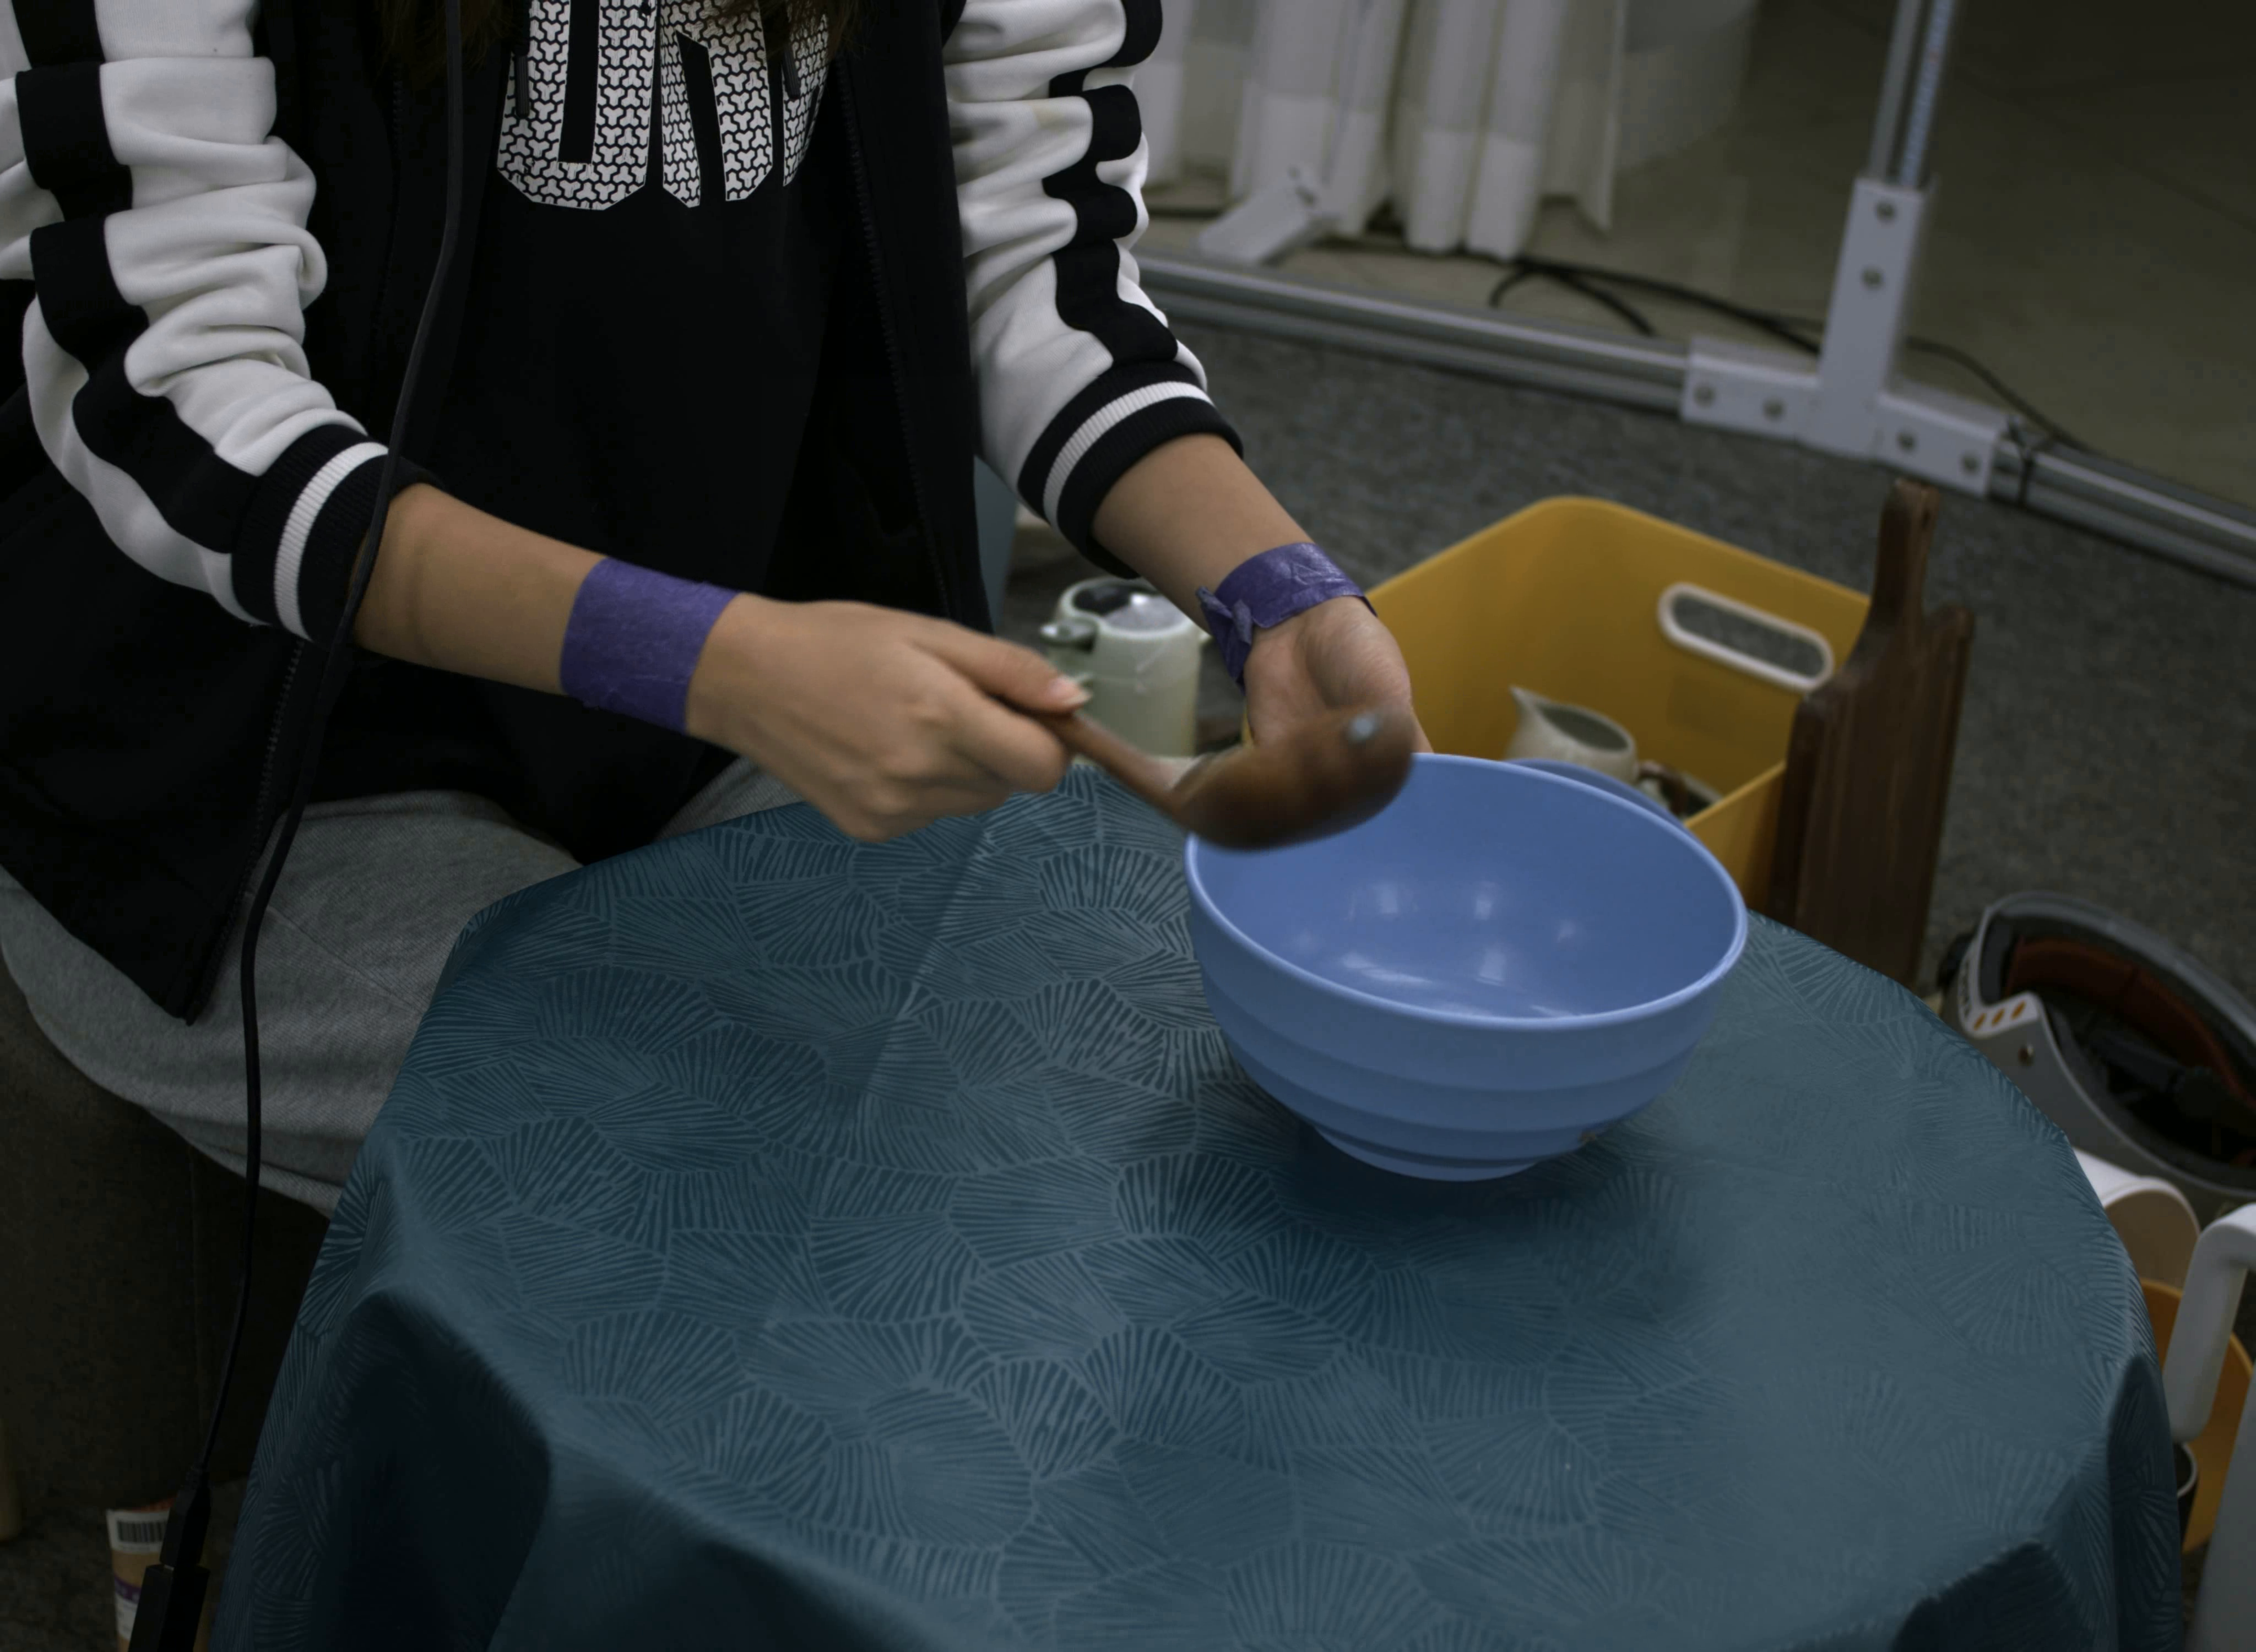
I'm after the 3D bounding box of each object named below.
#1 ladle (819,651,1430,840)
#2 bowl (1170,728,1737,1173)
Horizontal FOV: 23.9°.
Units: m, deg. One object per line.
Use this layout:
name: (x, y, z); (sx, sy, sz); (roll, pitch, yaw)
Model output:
ladle: (-0.008, -0.044, 1.764); (0.262, 0.065, 0.076); (19, 14, 42)
bowl: (0.109, 0.056, 1.856); (0.196, 0.095, 0.198); (3, 33, -2)
